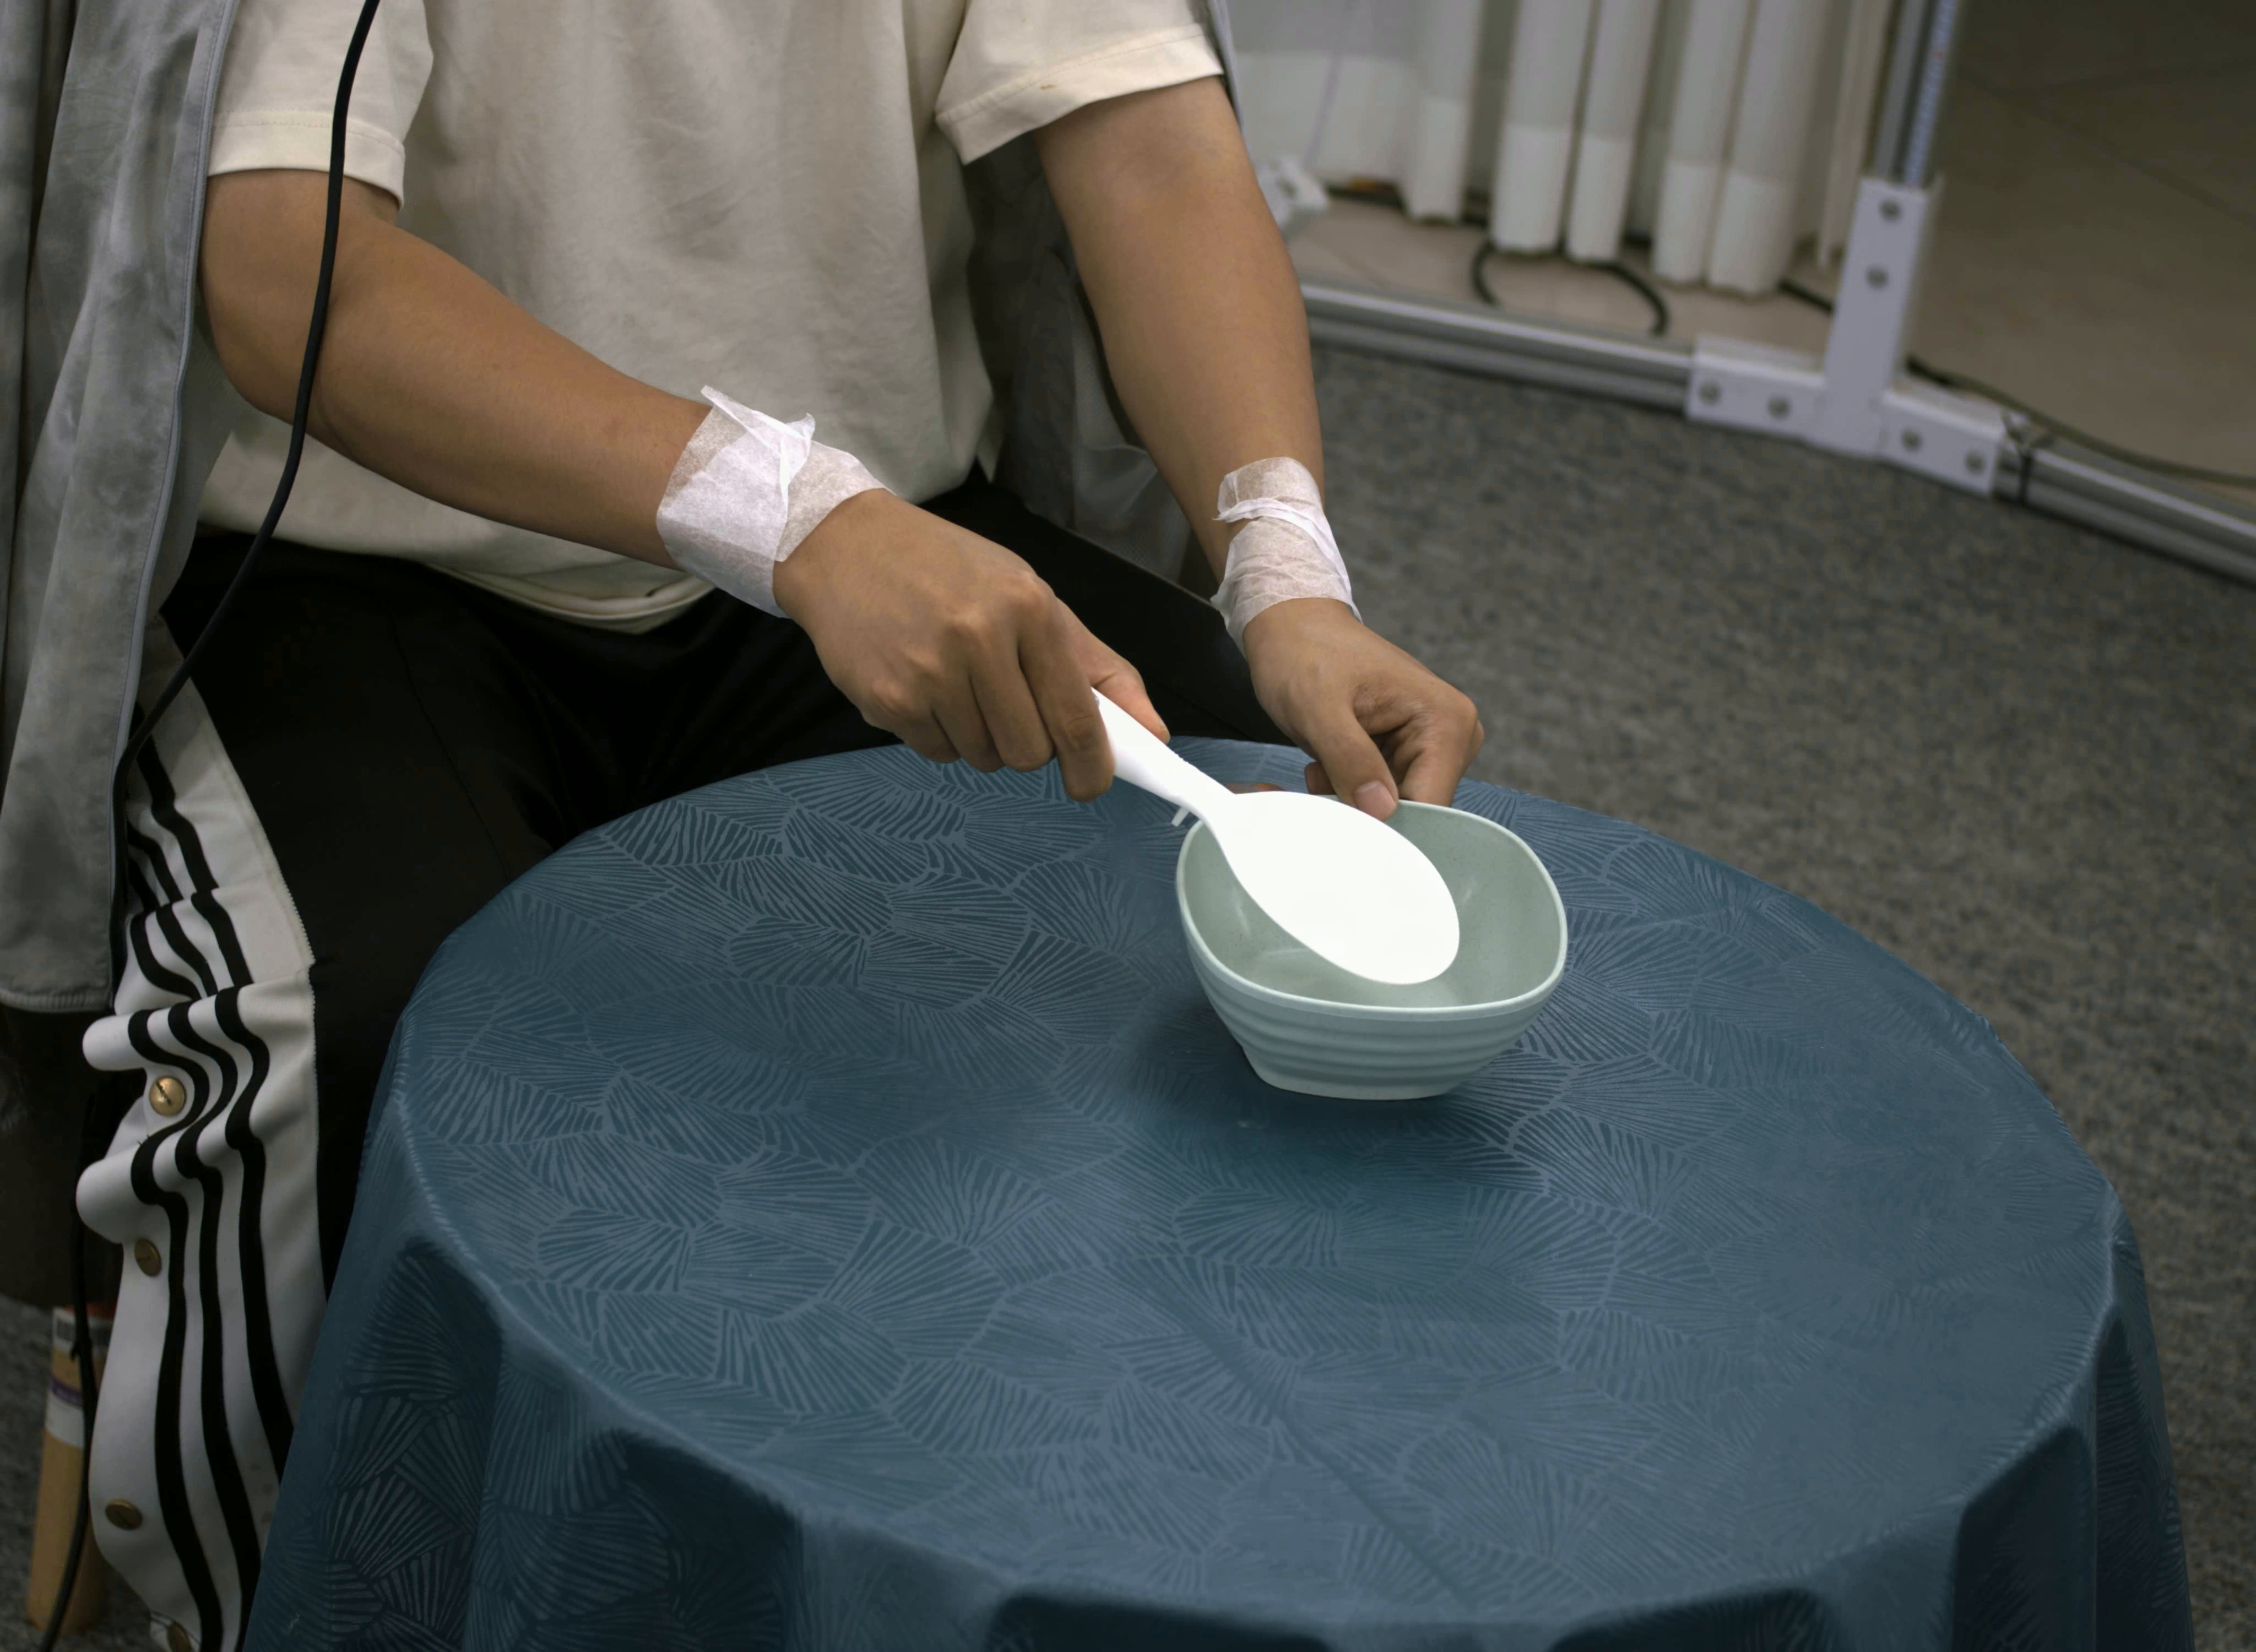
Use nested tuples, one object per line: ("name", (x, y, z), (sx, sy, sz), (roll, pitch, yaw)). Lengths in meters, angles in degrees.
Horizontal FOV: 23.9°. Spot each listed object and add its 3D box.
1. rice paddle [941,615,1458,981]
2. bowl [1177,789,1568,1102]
("rice paddle", (0.029, -0.010, 1.871), (0.205, 0.029, 0.069), (31, 50, -4))
("bowl", (0.084, 0.050, 1.898), (0.151, 0.058, 0.152), (4, 35, -3))
